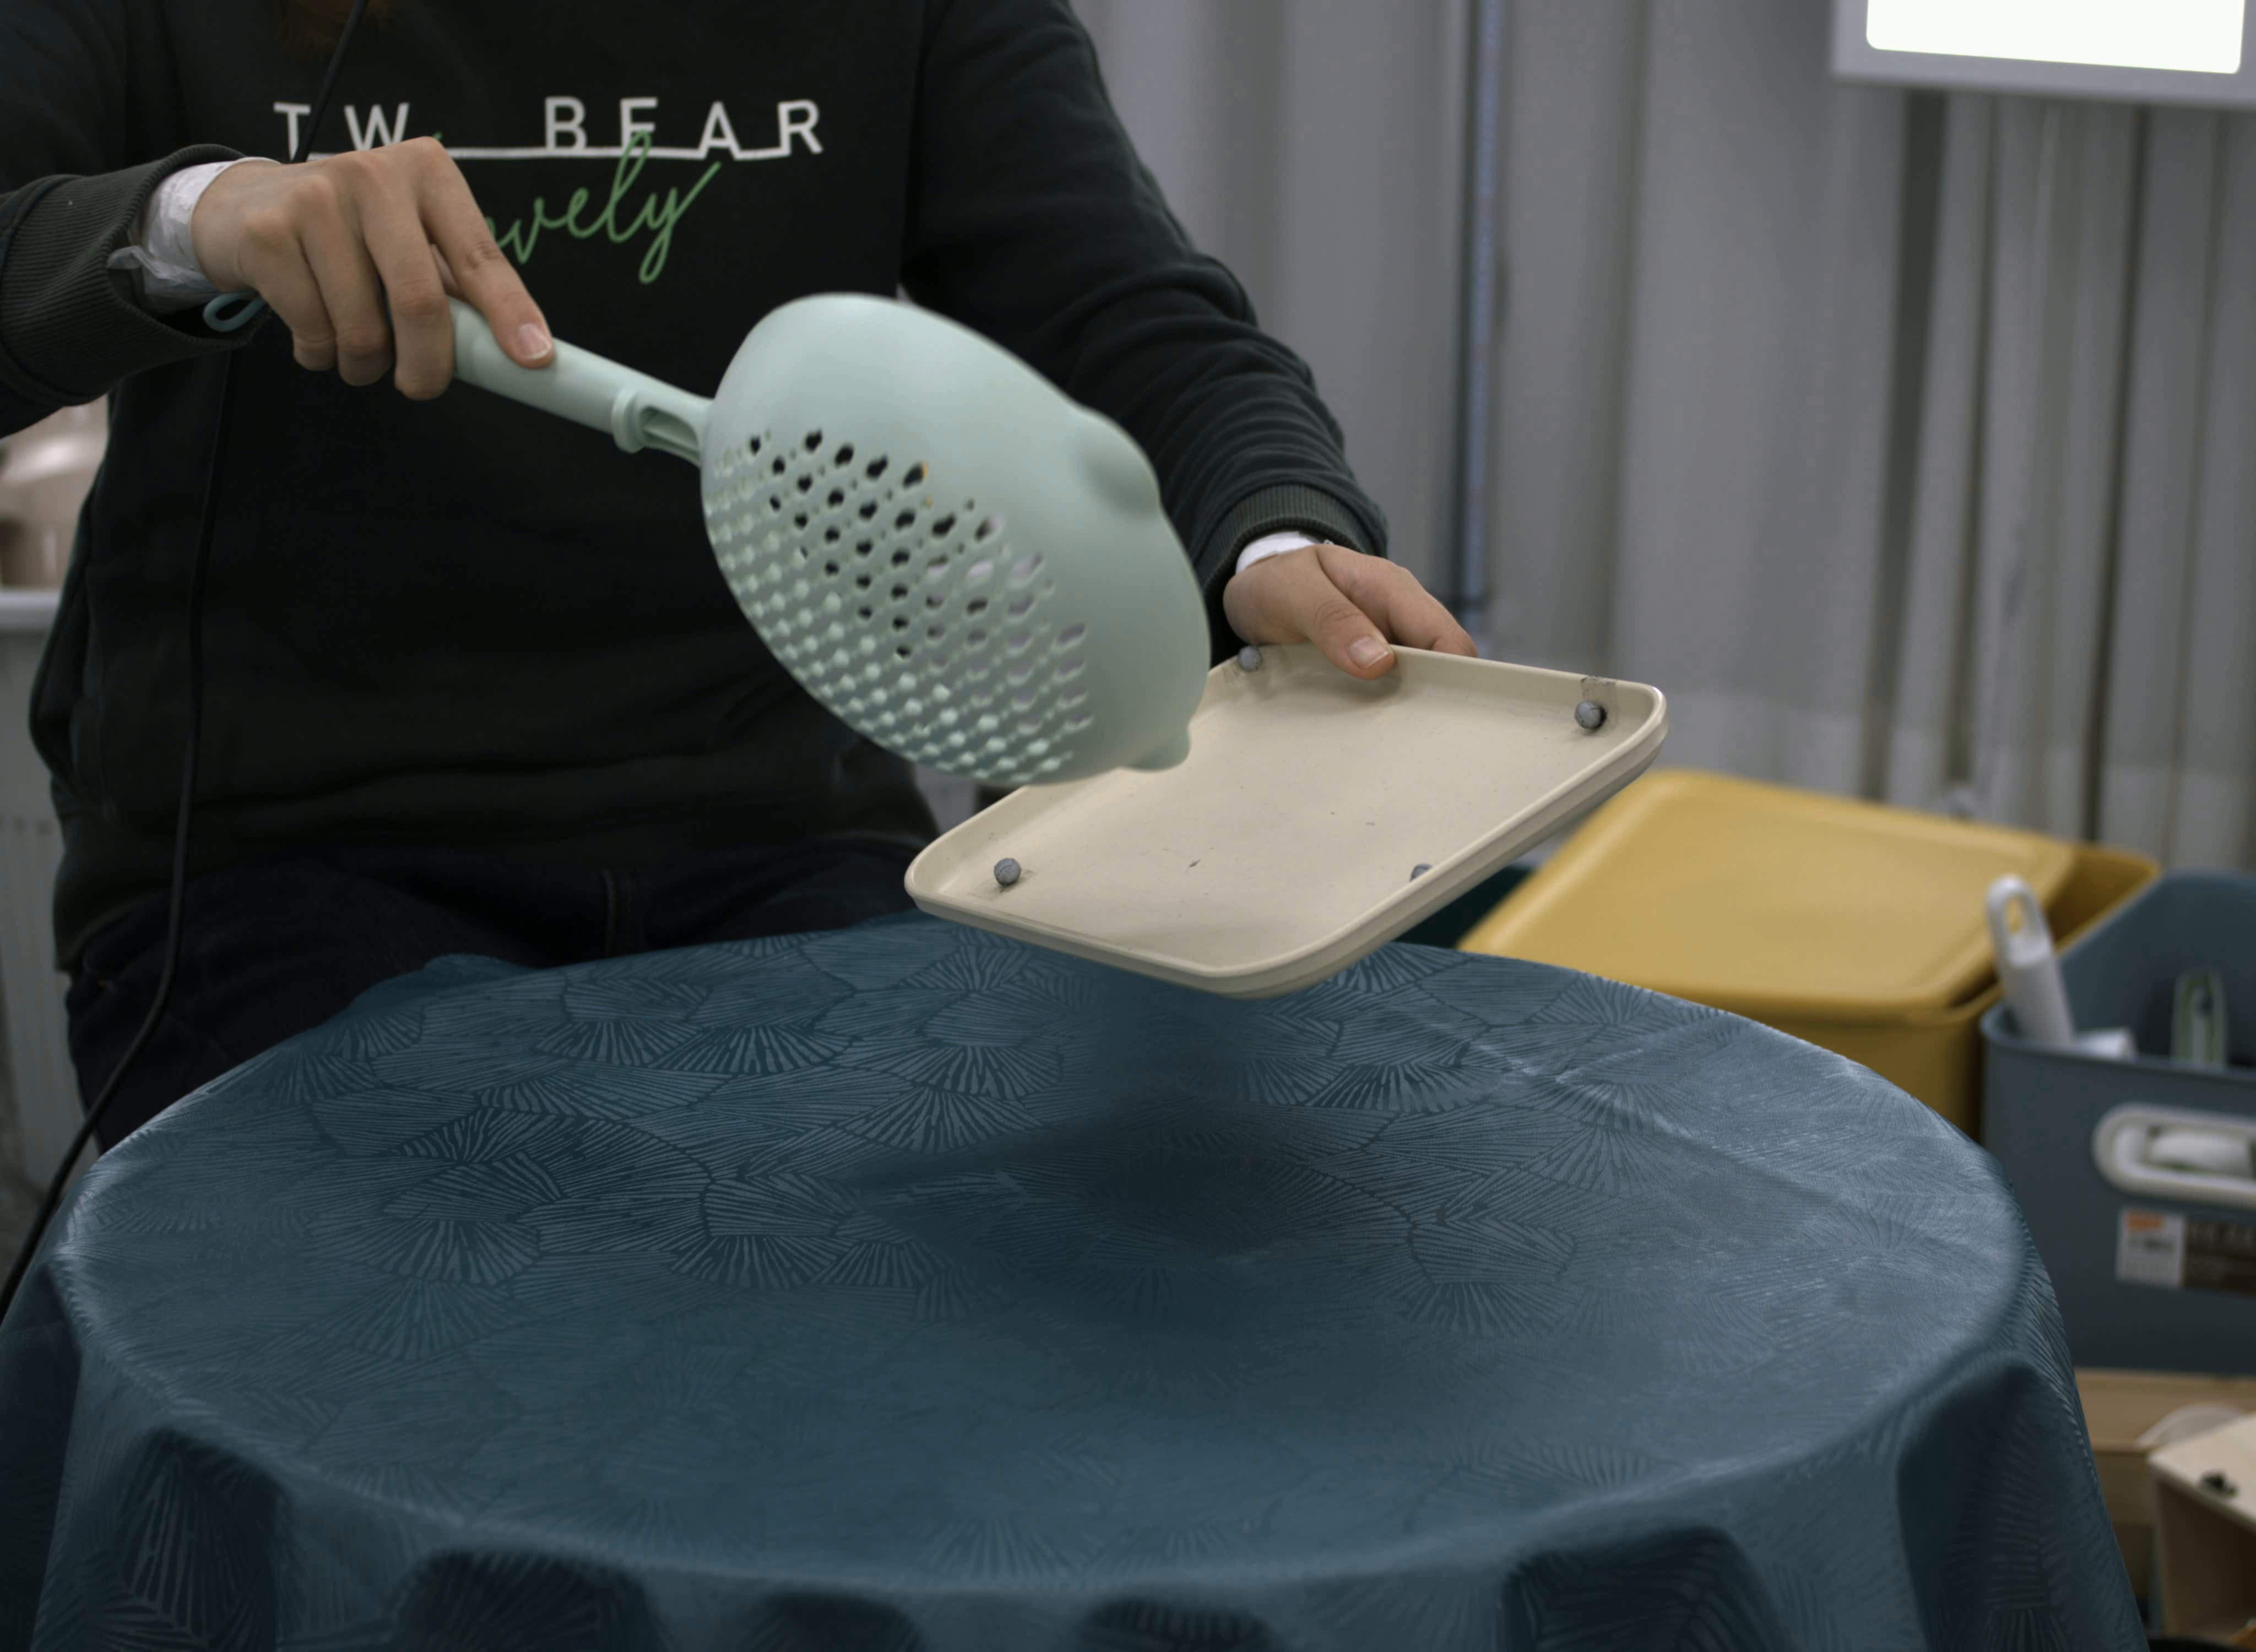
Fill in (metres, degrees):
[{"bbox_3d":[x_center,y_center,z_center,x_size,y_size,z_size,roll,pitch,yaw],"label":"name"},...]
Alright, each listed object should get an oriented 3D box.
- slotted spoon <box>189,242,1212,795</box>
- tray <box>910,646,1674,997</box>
[{"bbox_3d":[-0.134,-0.112,1.559,0.354,0.171,0.075,31,58,28],"label":"slotted spoon"},{"bbox_3d":[0.047,-0.003,1.597,0.171,0.017,0.237,-32,20,-23],"label":"tray"}]
